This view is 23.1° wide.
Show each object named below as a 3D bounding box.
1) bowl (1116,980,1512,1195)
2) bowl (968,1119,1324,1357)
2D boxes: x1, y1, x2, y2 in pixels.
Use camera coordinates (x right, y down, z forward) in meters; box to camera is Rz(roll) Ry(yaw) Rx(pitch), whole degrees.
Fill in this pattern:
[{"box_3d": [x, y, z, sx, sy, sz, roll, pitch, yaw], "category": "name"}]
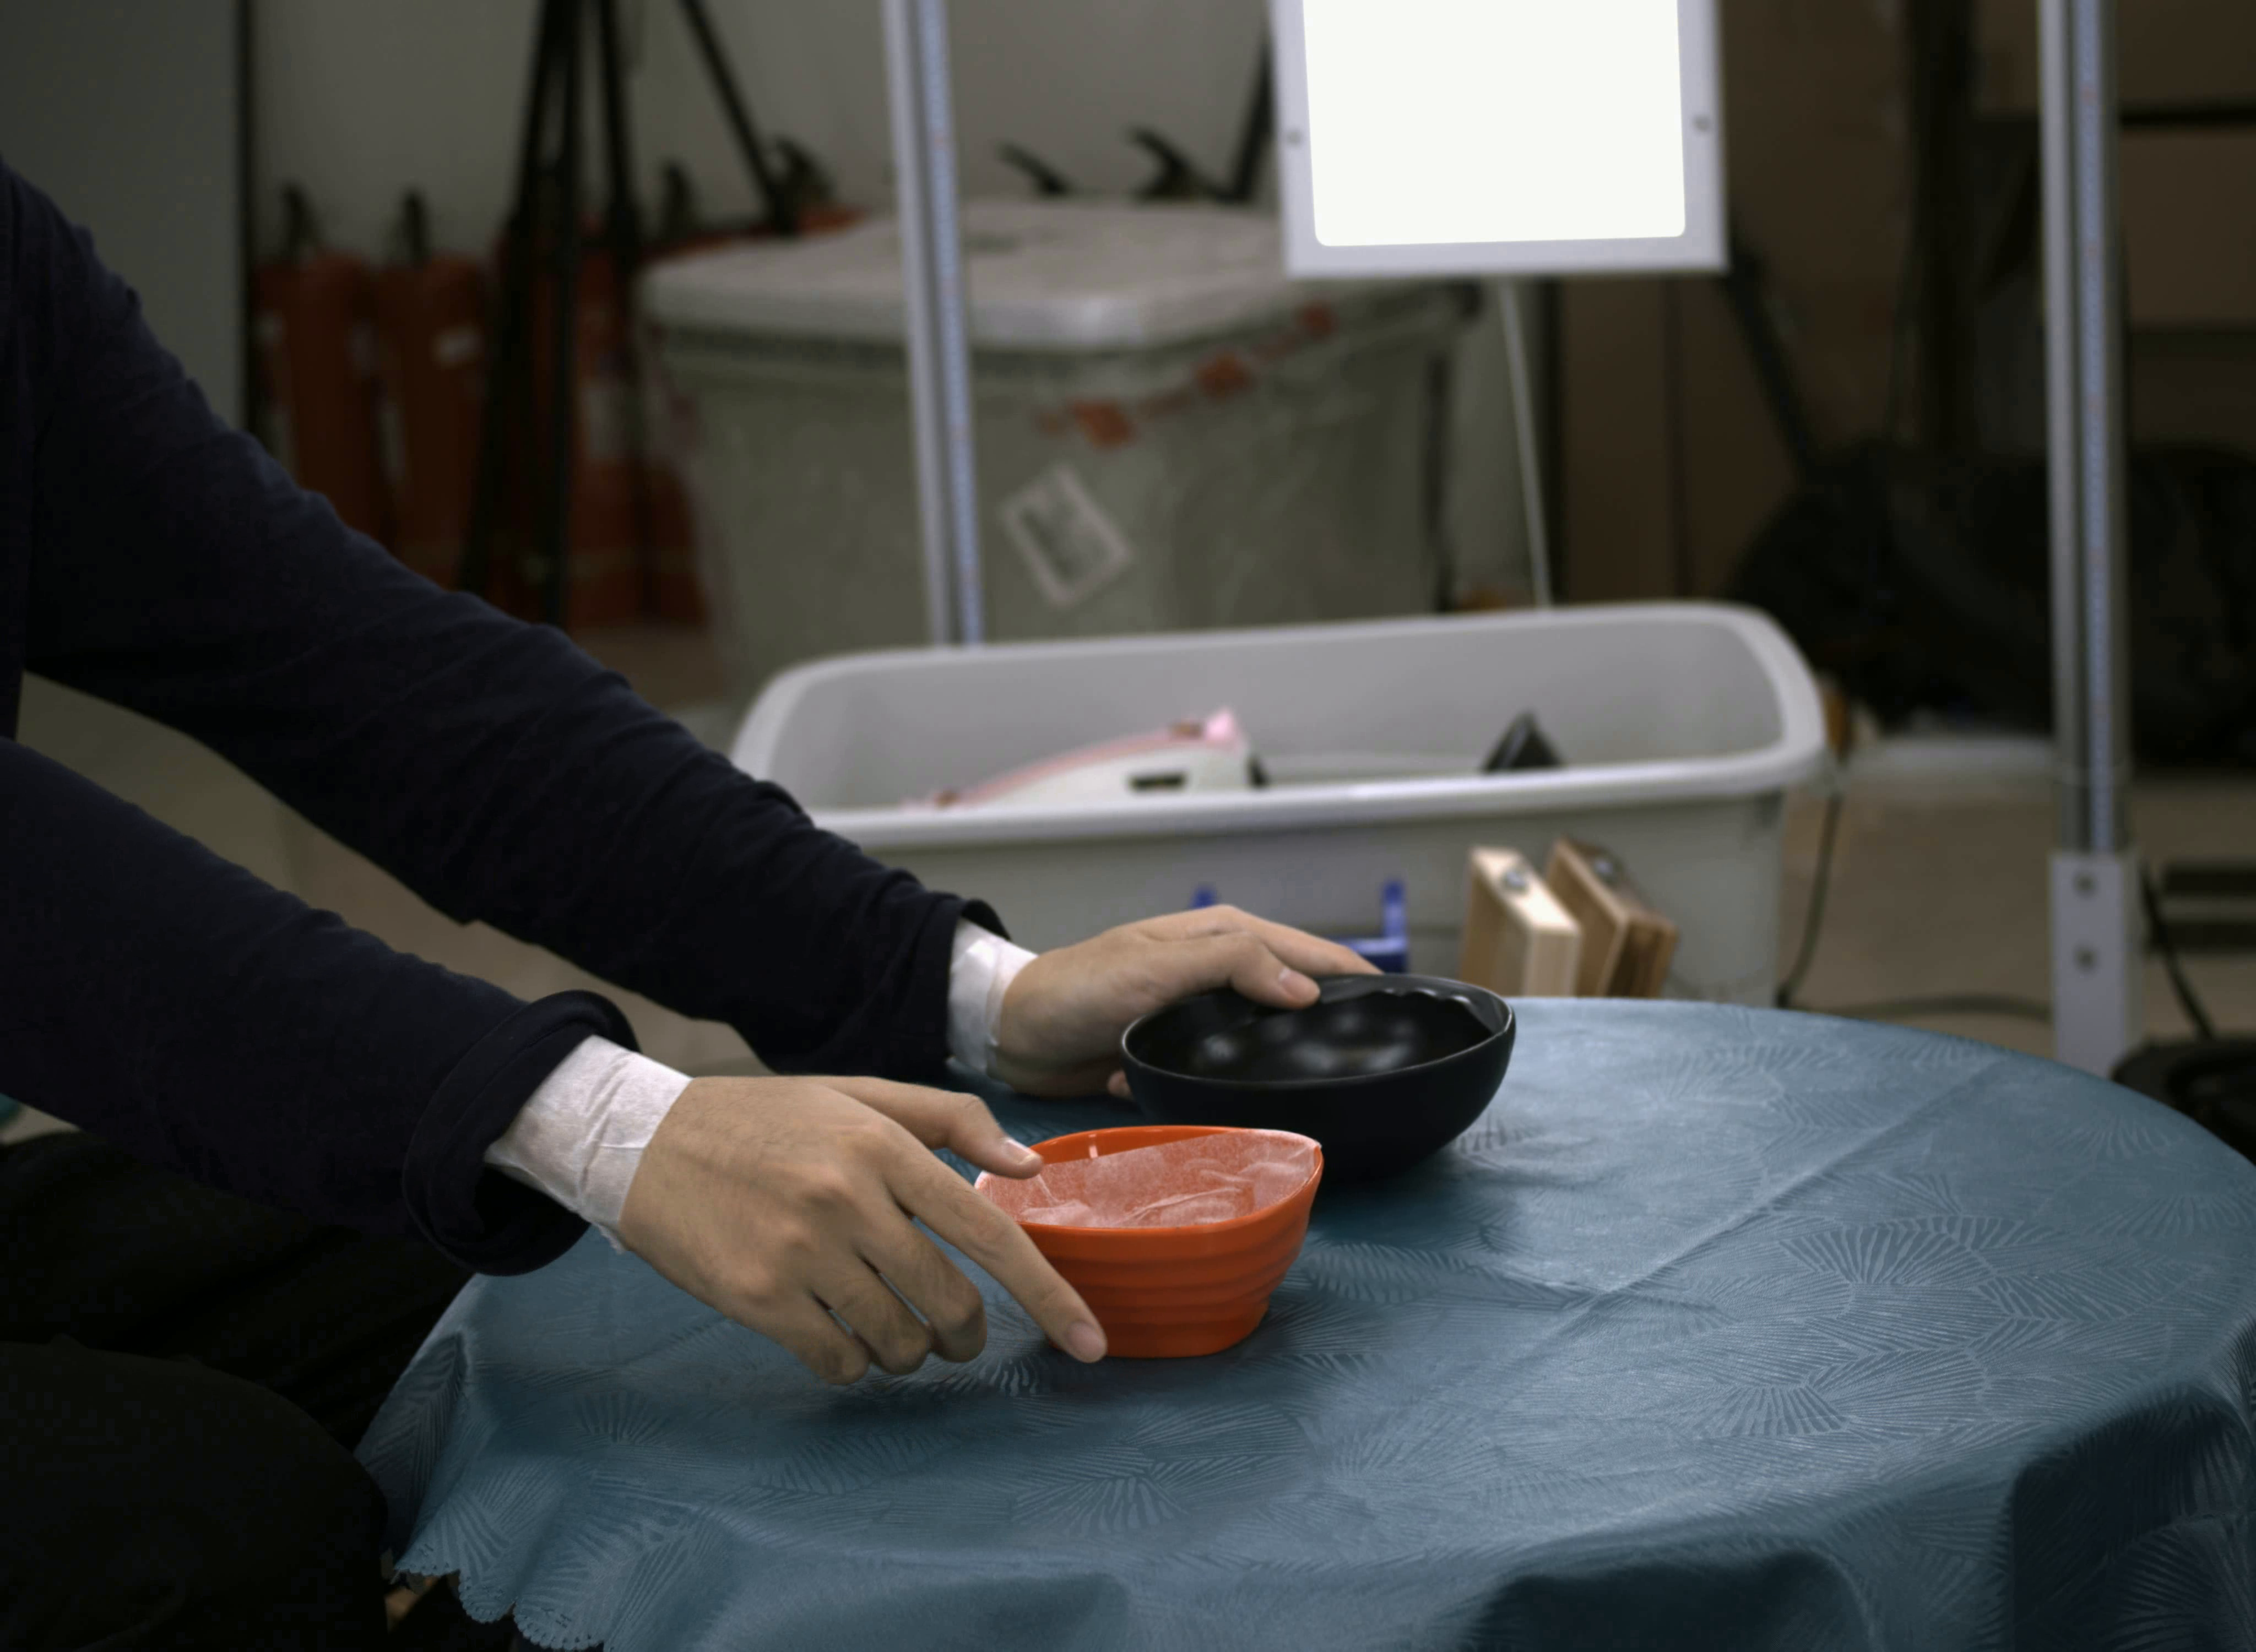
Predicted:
[{"box_3d": [0.068, 0.095, 1.914, 0.140, 0.050, 0.140, -9, 12, 0], "category": "bowl"}, {"box_3d": [0.008, 0.134, 1.759, 0.118, 0.051, 0.119, -4, 15, 0], "category": "bowl"}]
